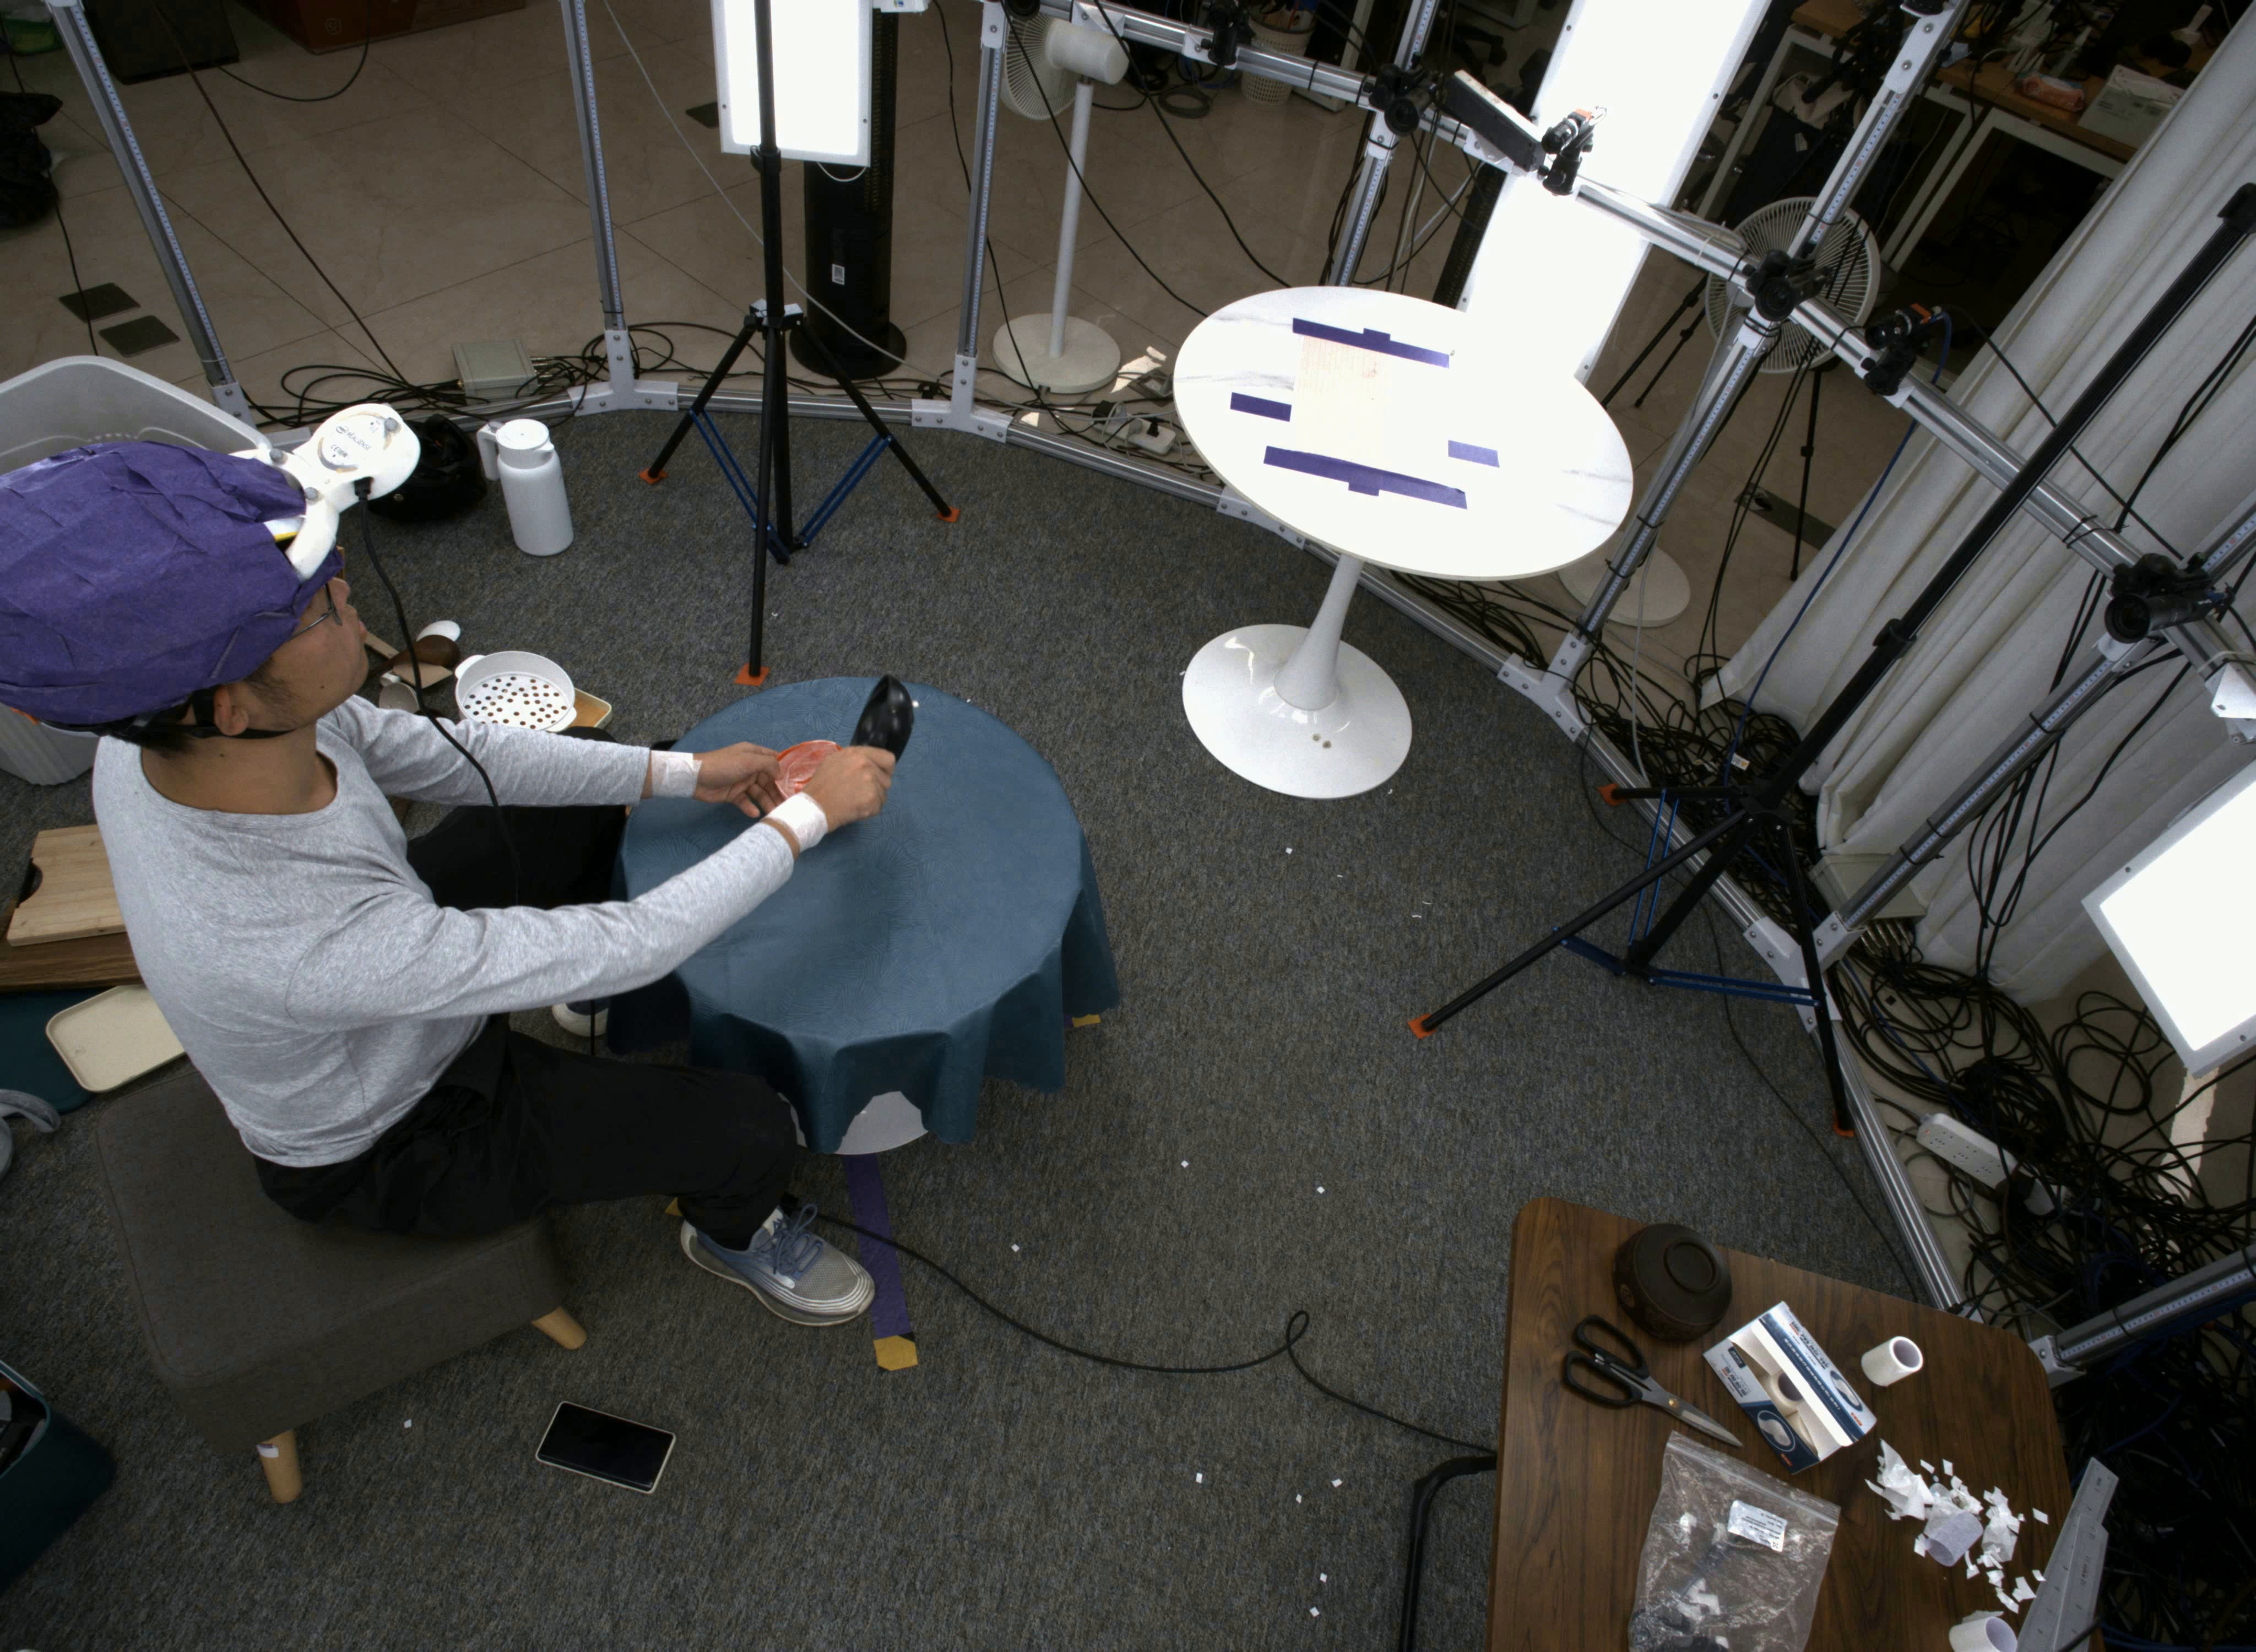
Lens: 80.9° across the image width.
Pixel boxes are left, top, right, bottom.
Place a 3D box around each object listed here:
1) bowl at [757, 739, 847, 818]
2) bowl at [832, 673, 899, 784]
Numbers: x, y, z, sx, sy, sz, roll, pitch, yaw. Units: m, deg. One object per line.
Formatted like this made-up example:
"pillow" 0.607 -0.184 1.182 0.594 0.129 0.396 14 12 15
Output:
"bowl" -0.435 -0.056 1.726 0.119 0.052 0.117 11 52 -13
"bowl" -0.320 -0.114 1.606 0.050 0.140 0.137 18 48 -23
